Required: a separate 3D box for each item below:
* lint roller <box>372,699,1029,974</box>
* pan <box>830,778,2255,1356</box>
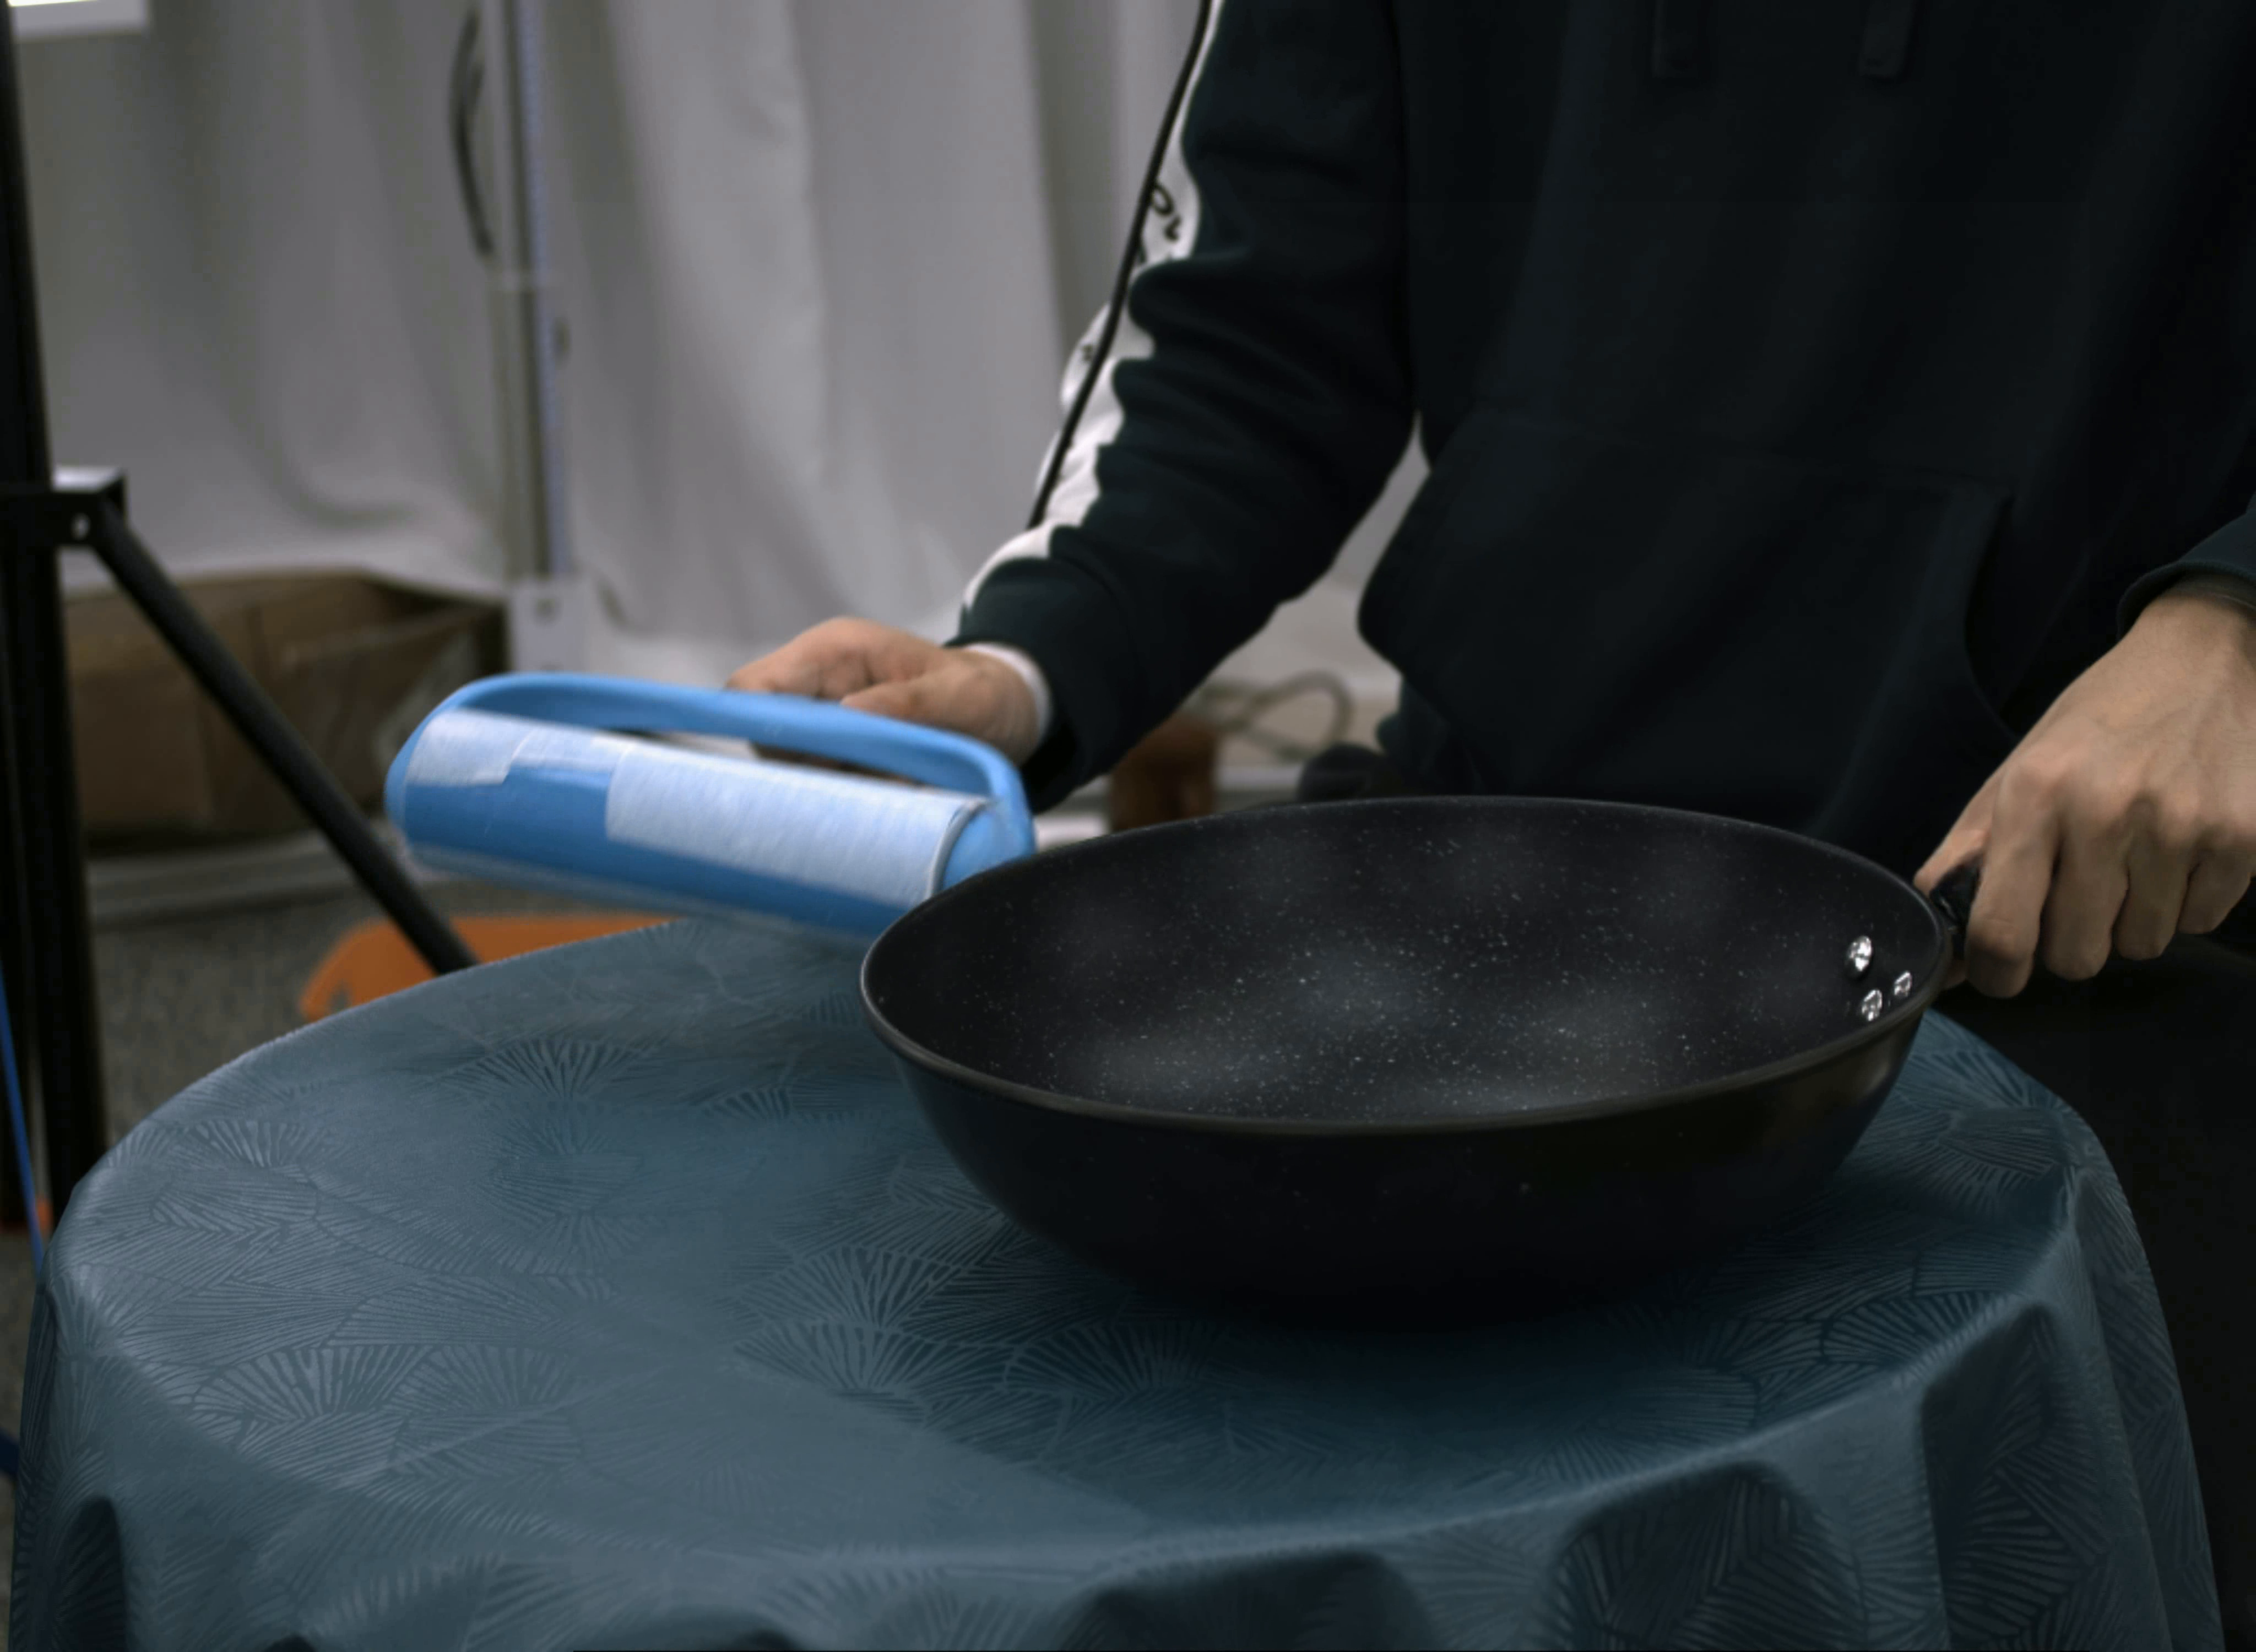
[{"bbox_3d":[-0.116,-0.005,1.743,0.232,0.068,0.177,7,16,23],"label":"lint roller"},{"bbox_3d":[0.153,0.058,1.509,0.471,0.111,0.314,-6,18,-9],"label":"pan"}]
